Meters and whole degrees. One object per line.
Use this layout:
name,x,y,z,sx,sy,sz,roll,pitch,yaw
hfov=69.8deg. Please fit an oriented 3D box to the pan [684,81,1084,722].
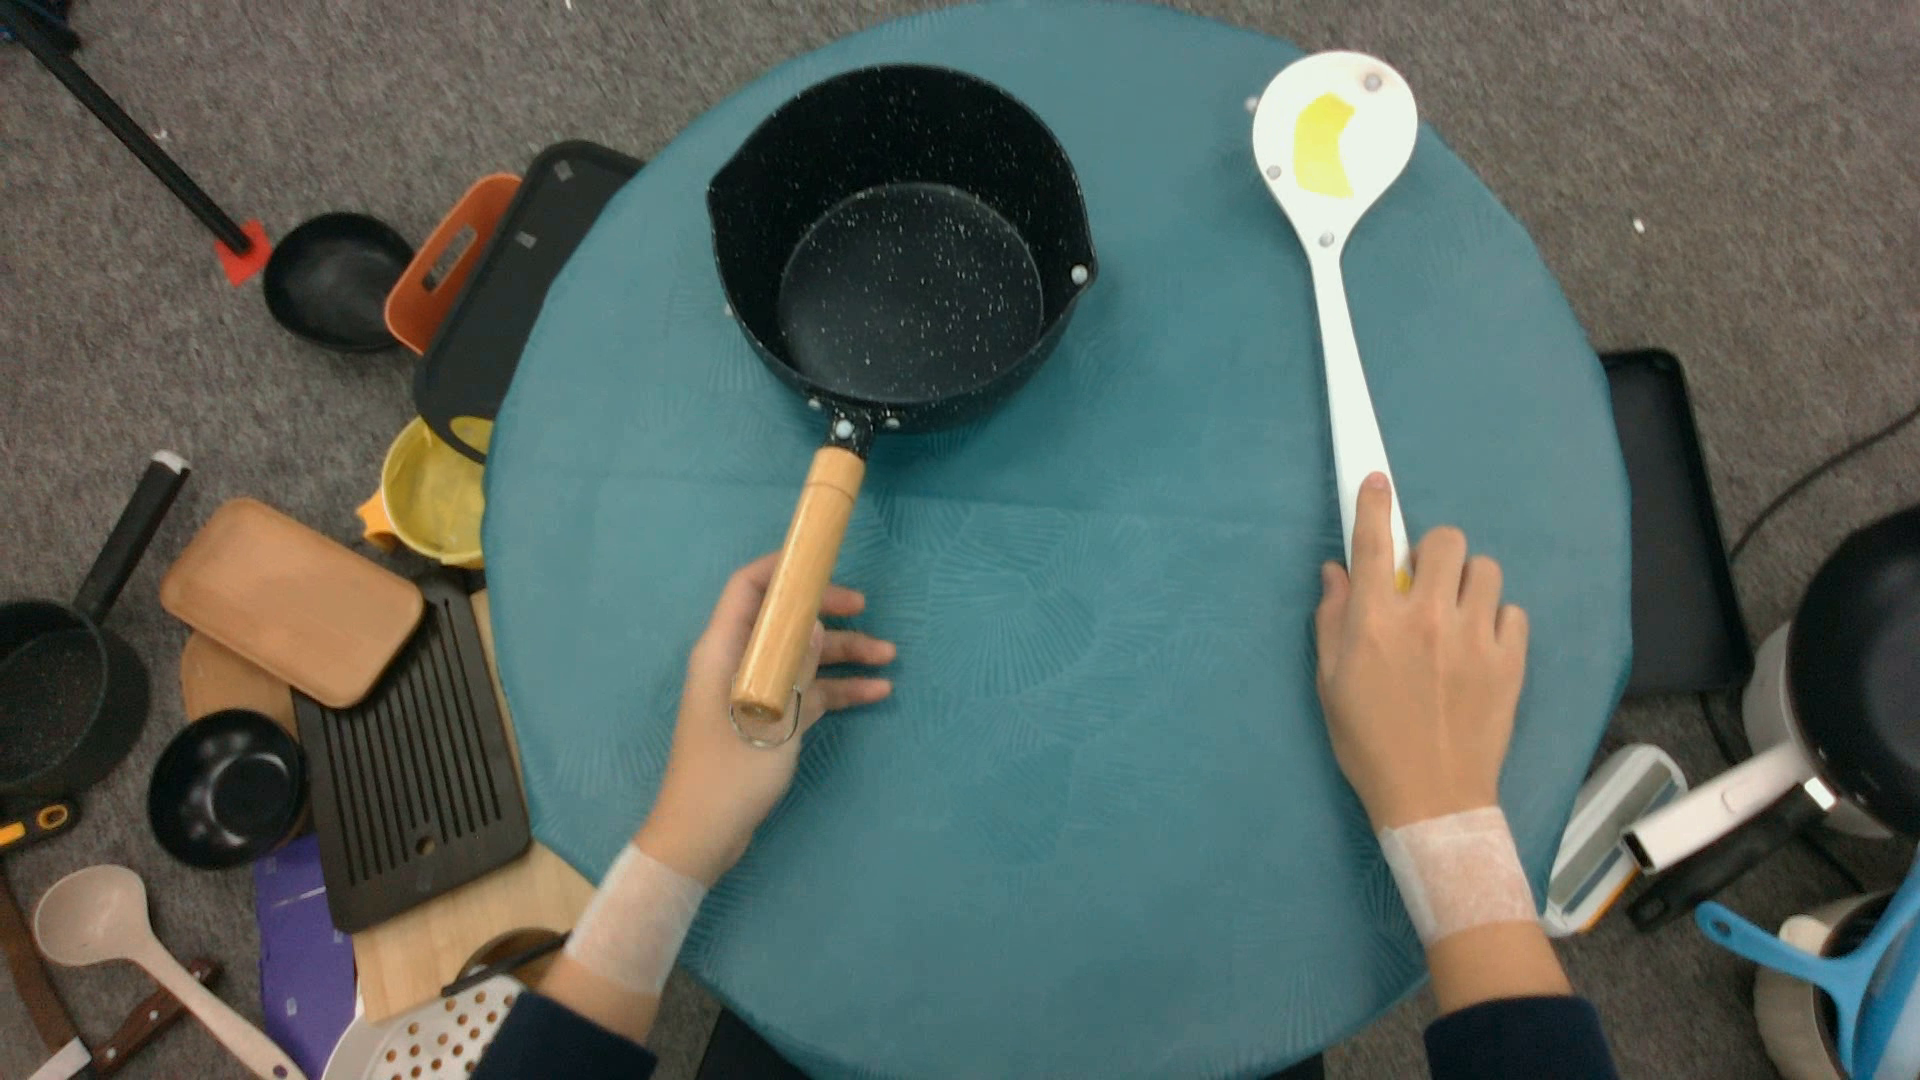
pan,-0.054,-0.066,0.689,0.207,0.108,0.344,12,71,4

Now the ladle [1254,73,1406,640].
ladle,0.203,-0.098,0.719,0.090,0.069,0.293,2,72,-14
